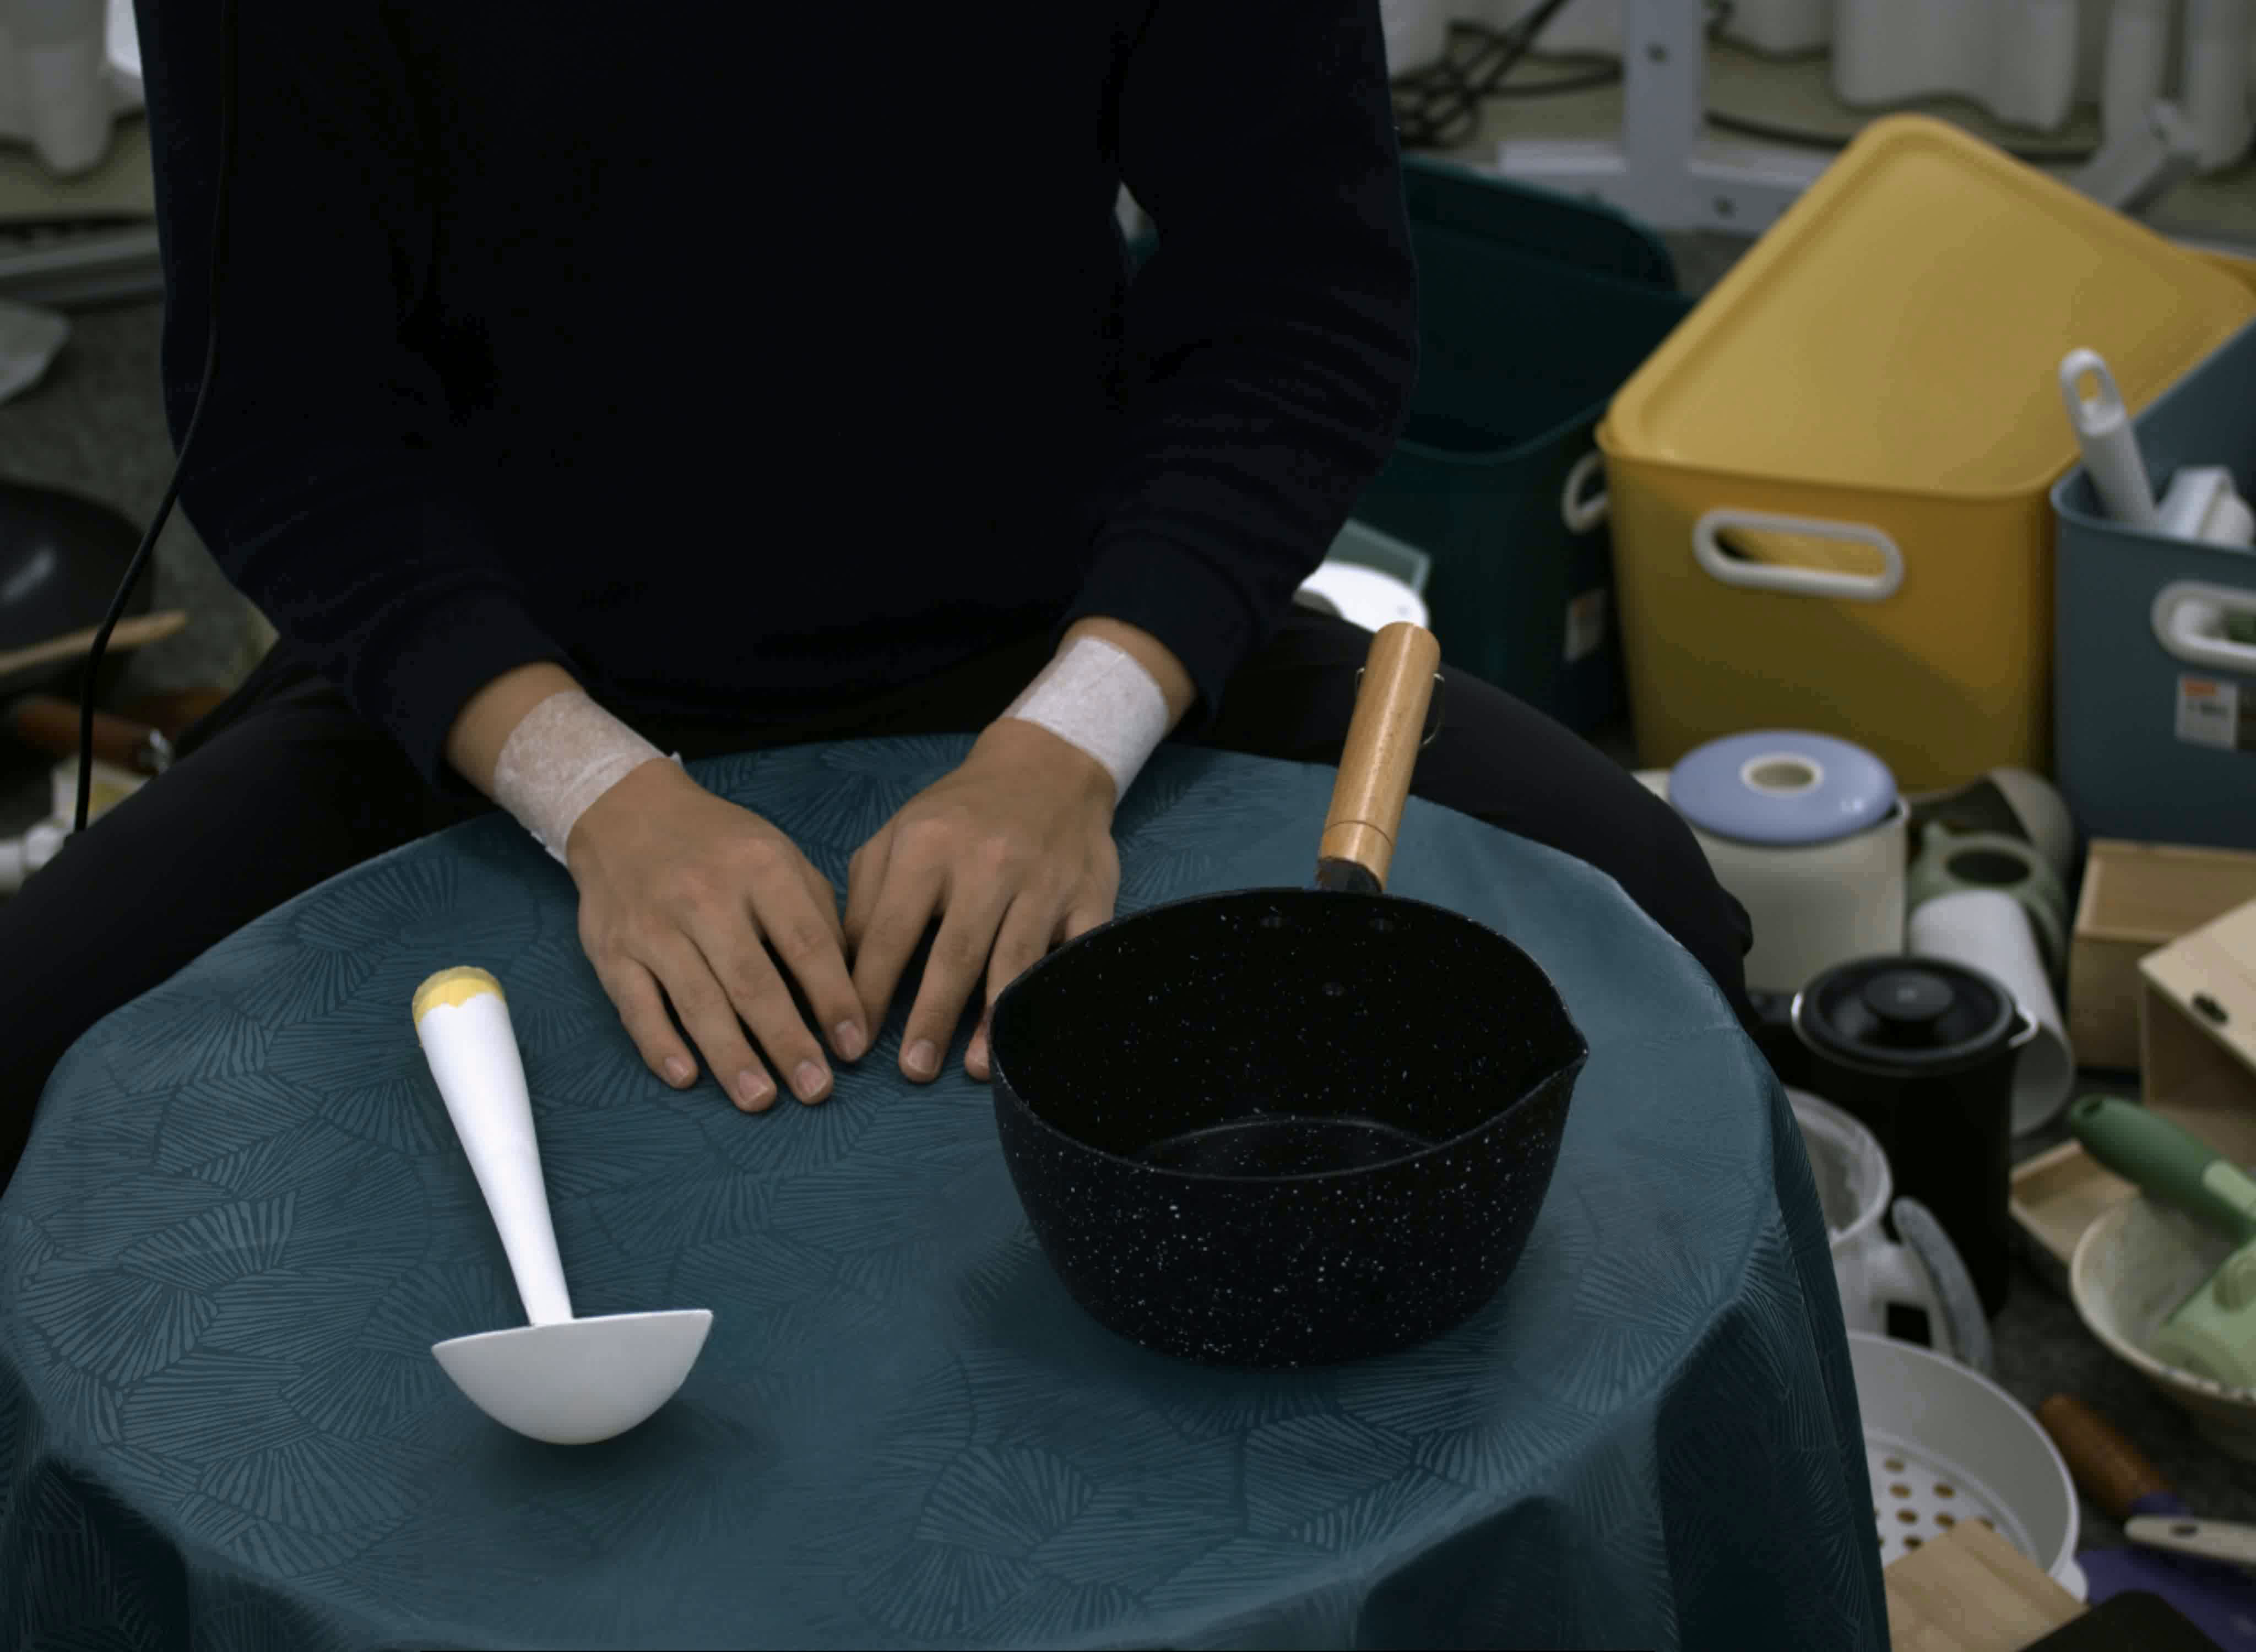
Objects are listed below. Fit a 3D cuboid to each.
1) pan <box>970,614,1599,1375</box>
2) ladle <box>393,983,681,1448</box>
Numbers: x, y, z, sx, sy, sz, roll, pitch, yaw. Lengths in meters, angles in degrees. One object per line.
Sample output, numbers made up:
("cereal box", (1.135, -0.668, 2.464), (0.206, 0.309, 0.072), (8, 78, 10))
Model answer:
("pan", (0.064, 0.052, 1.873), (0.206, 0.107, 0.349), (2, 29, 11))
("ladle", (-0.205, 0.115, 1.827), (0.090, 0.069, 0.296), (-12, 28, -8))
